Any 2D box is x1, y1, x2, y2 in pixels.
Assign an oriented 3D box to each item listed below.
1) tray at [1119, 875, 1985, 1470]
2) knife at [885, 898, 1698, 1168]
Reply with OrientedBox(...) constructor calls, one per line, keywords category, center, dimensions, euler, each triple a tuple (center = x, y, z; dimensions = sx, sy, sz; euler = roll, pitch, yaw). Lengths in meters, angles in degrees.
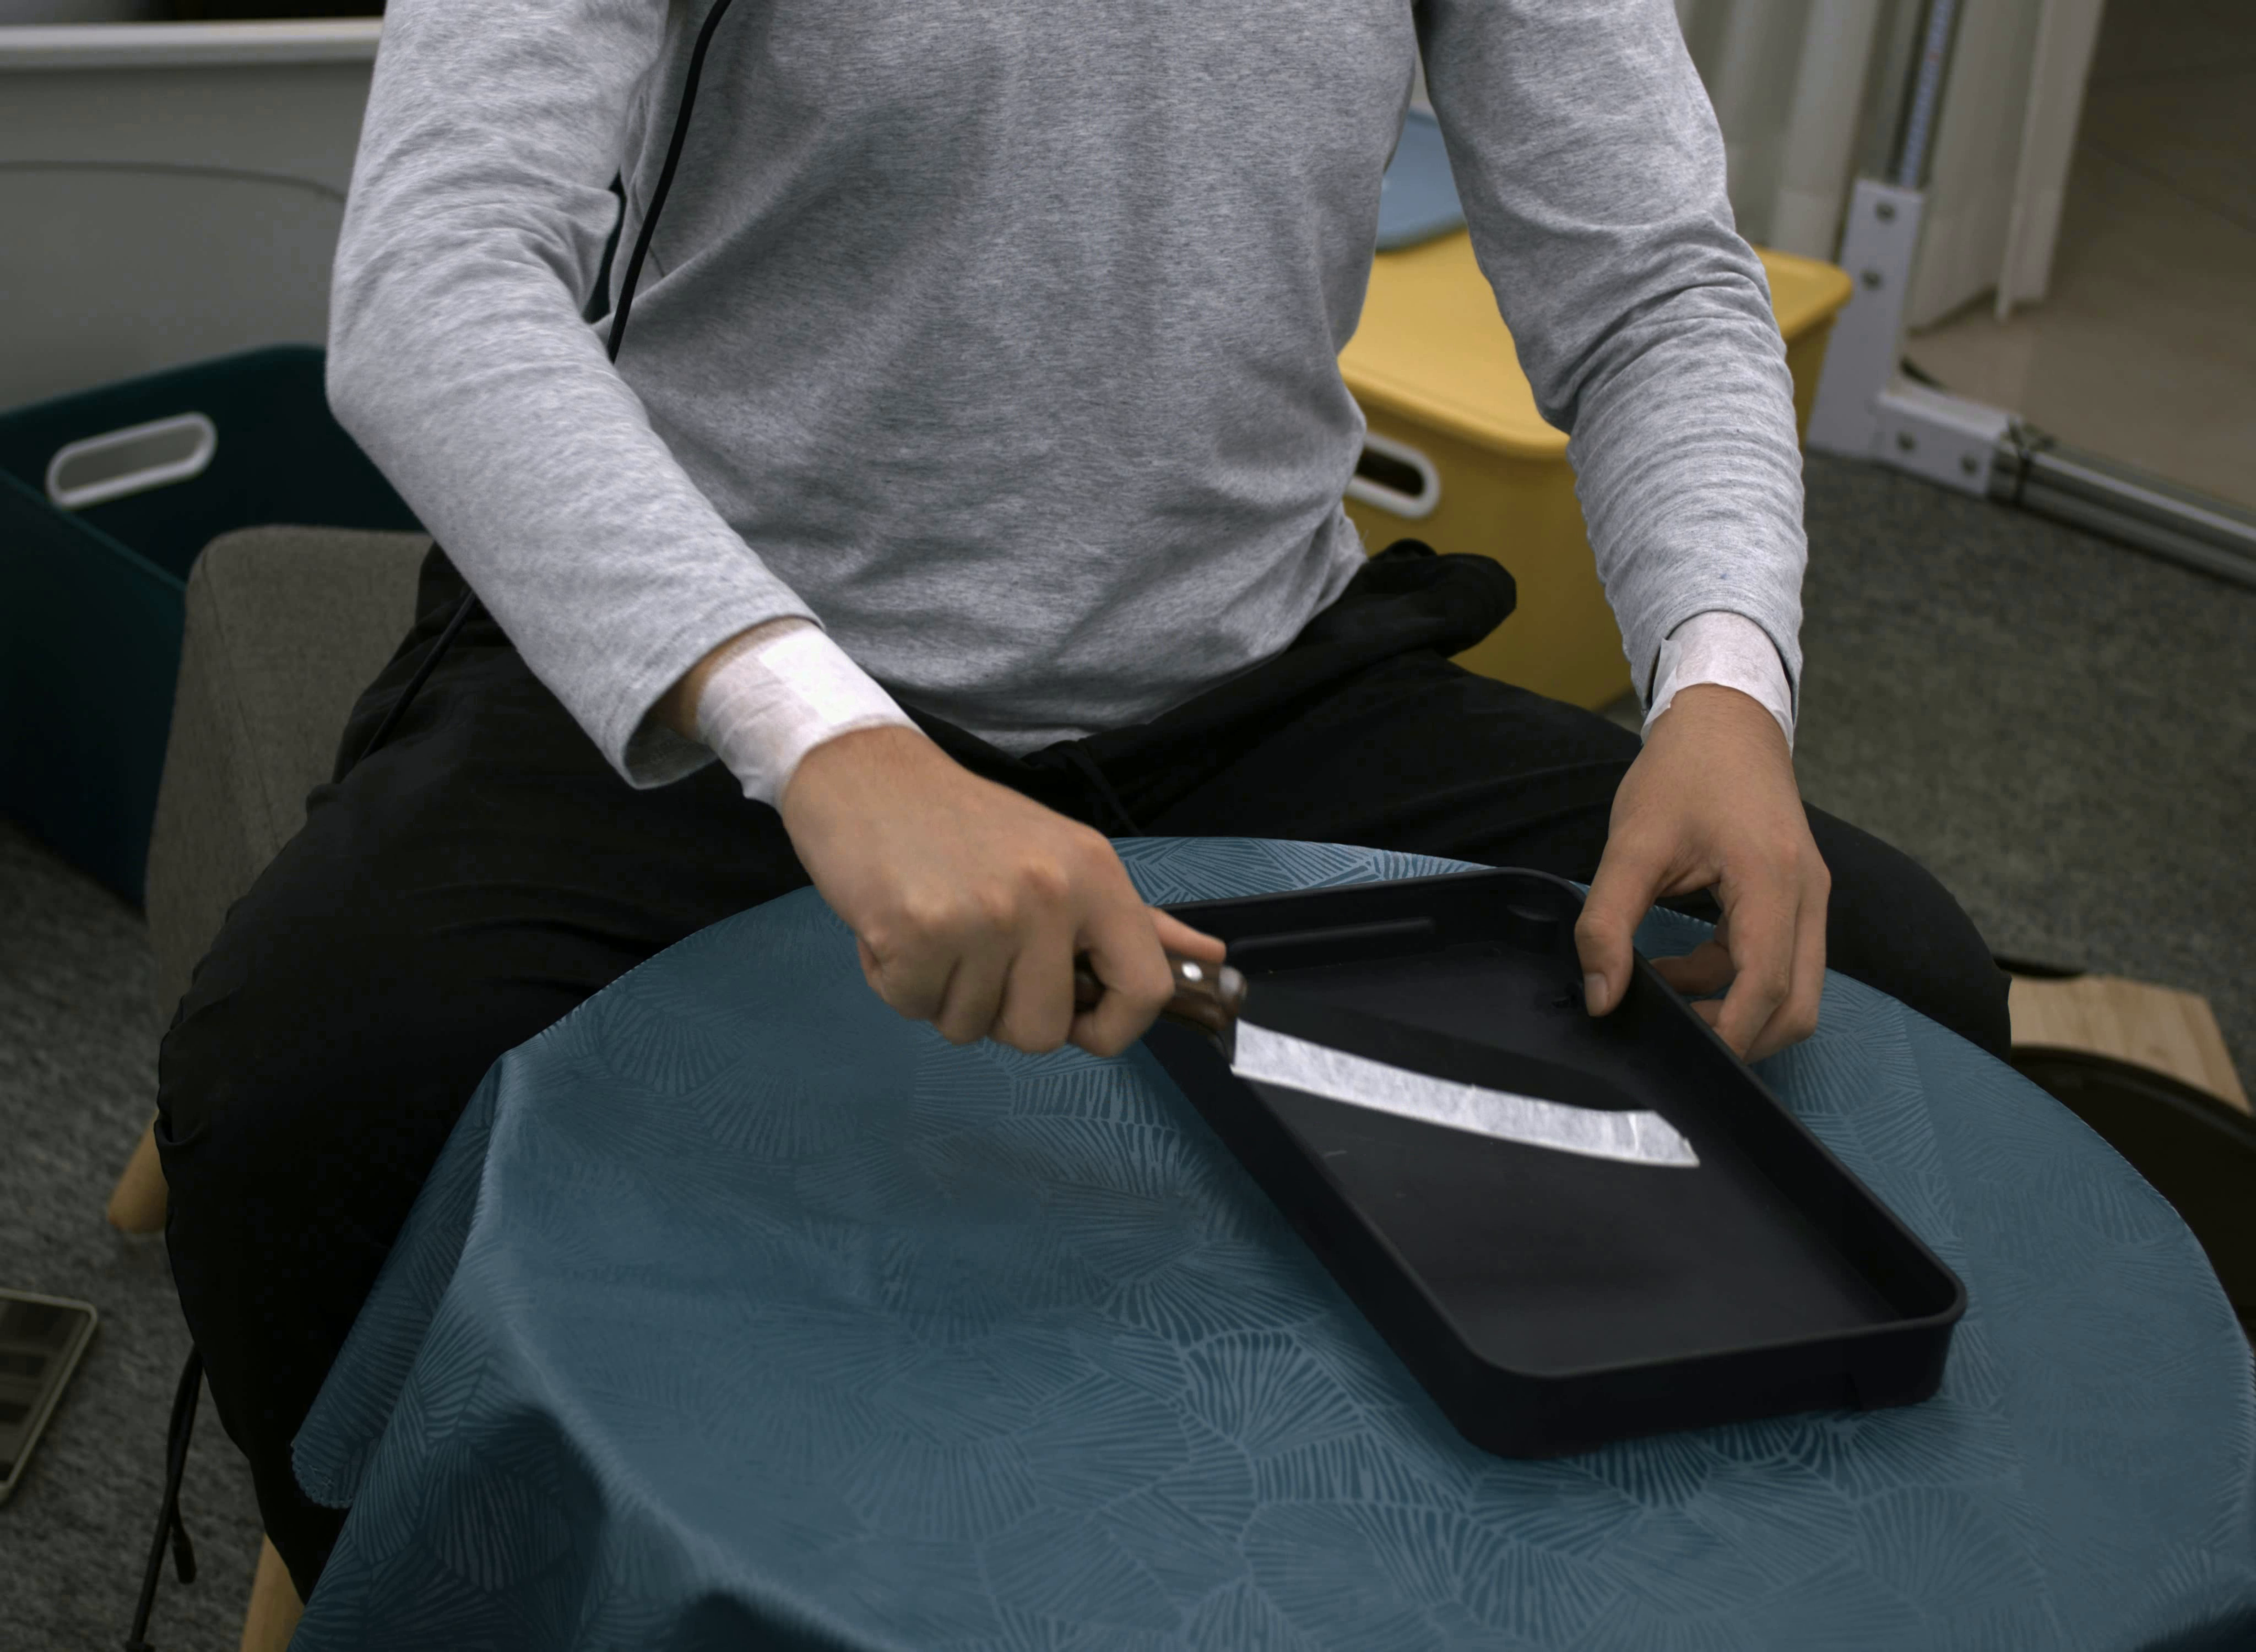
OrientedBox(category="tray", center=(0.137, 0.111, 1.822), dimensions=(0.183, 0.037, 0.321), euler=(-7, 29, -24))
OrientedBox(category="knife", center=(0.056, 0.072, 1.772), dimensions=(0.288, 0.020, 0.050), euler=(16, 43, -9))
